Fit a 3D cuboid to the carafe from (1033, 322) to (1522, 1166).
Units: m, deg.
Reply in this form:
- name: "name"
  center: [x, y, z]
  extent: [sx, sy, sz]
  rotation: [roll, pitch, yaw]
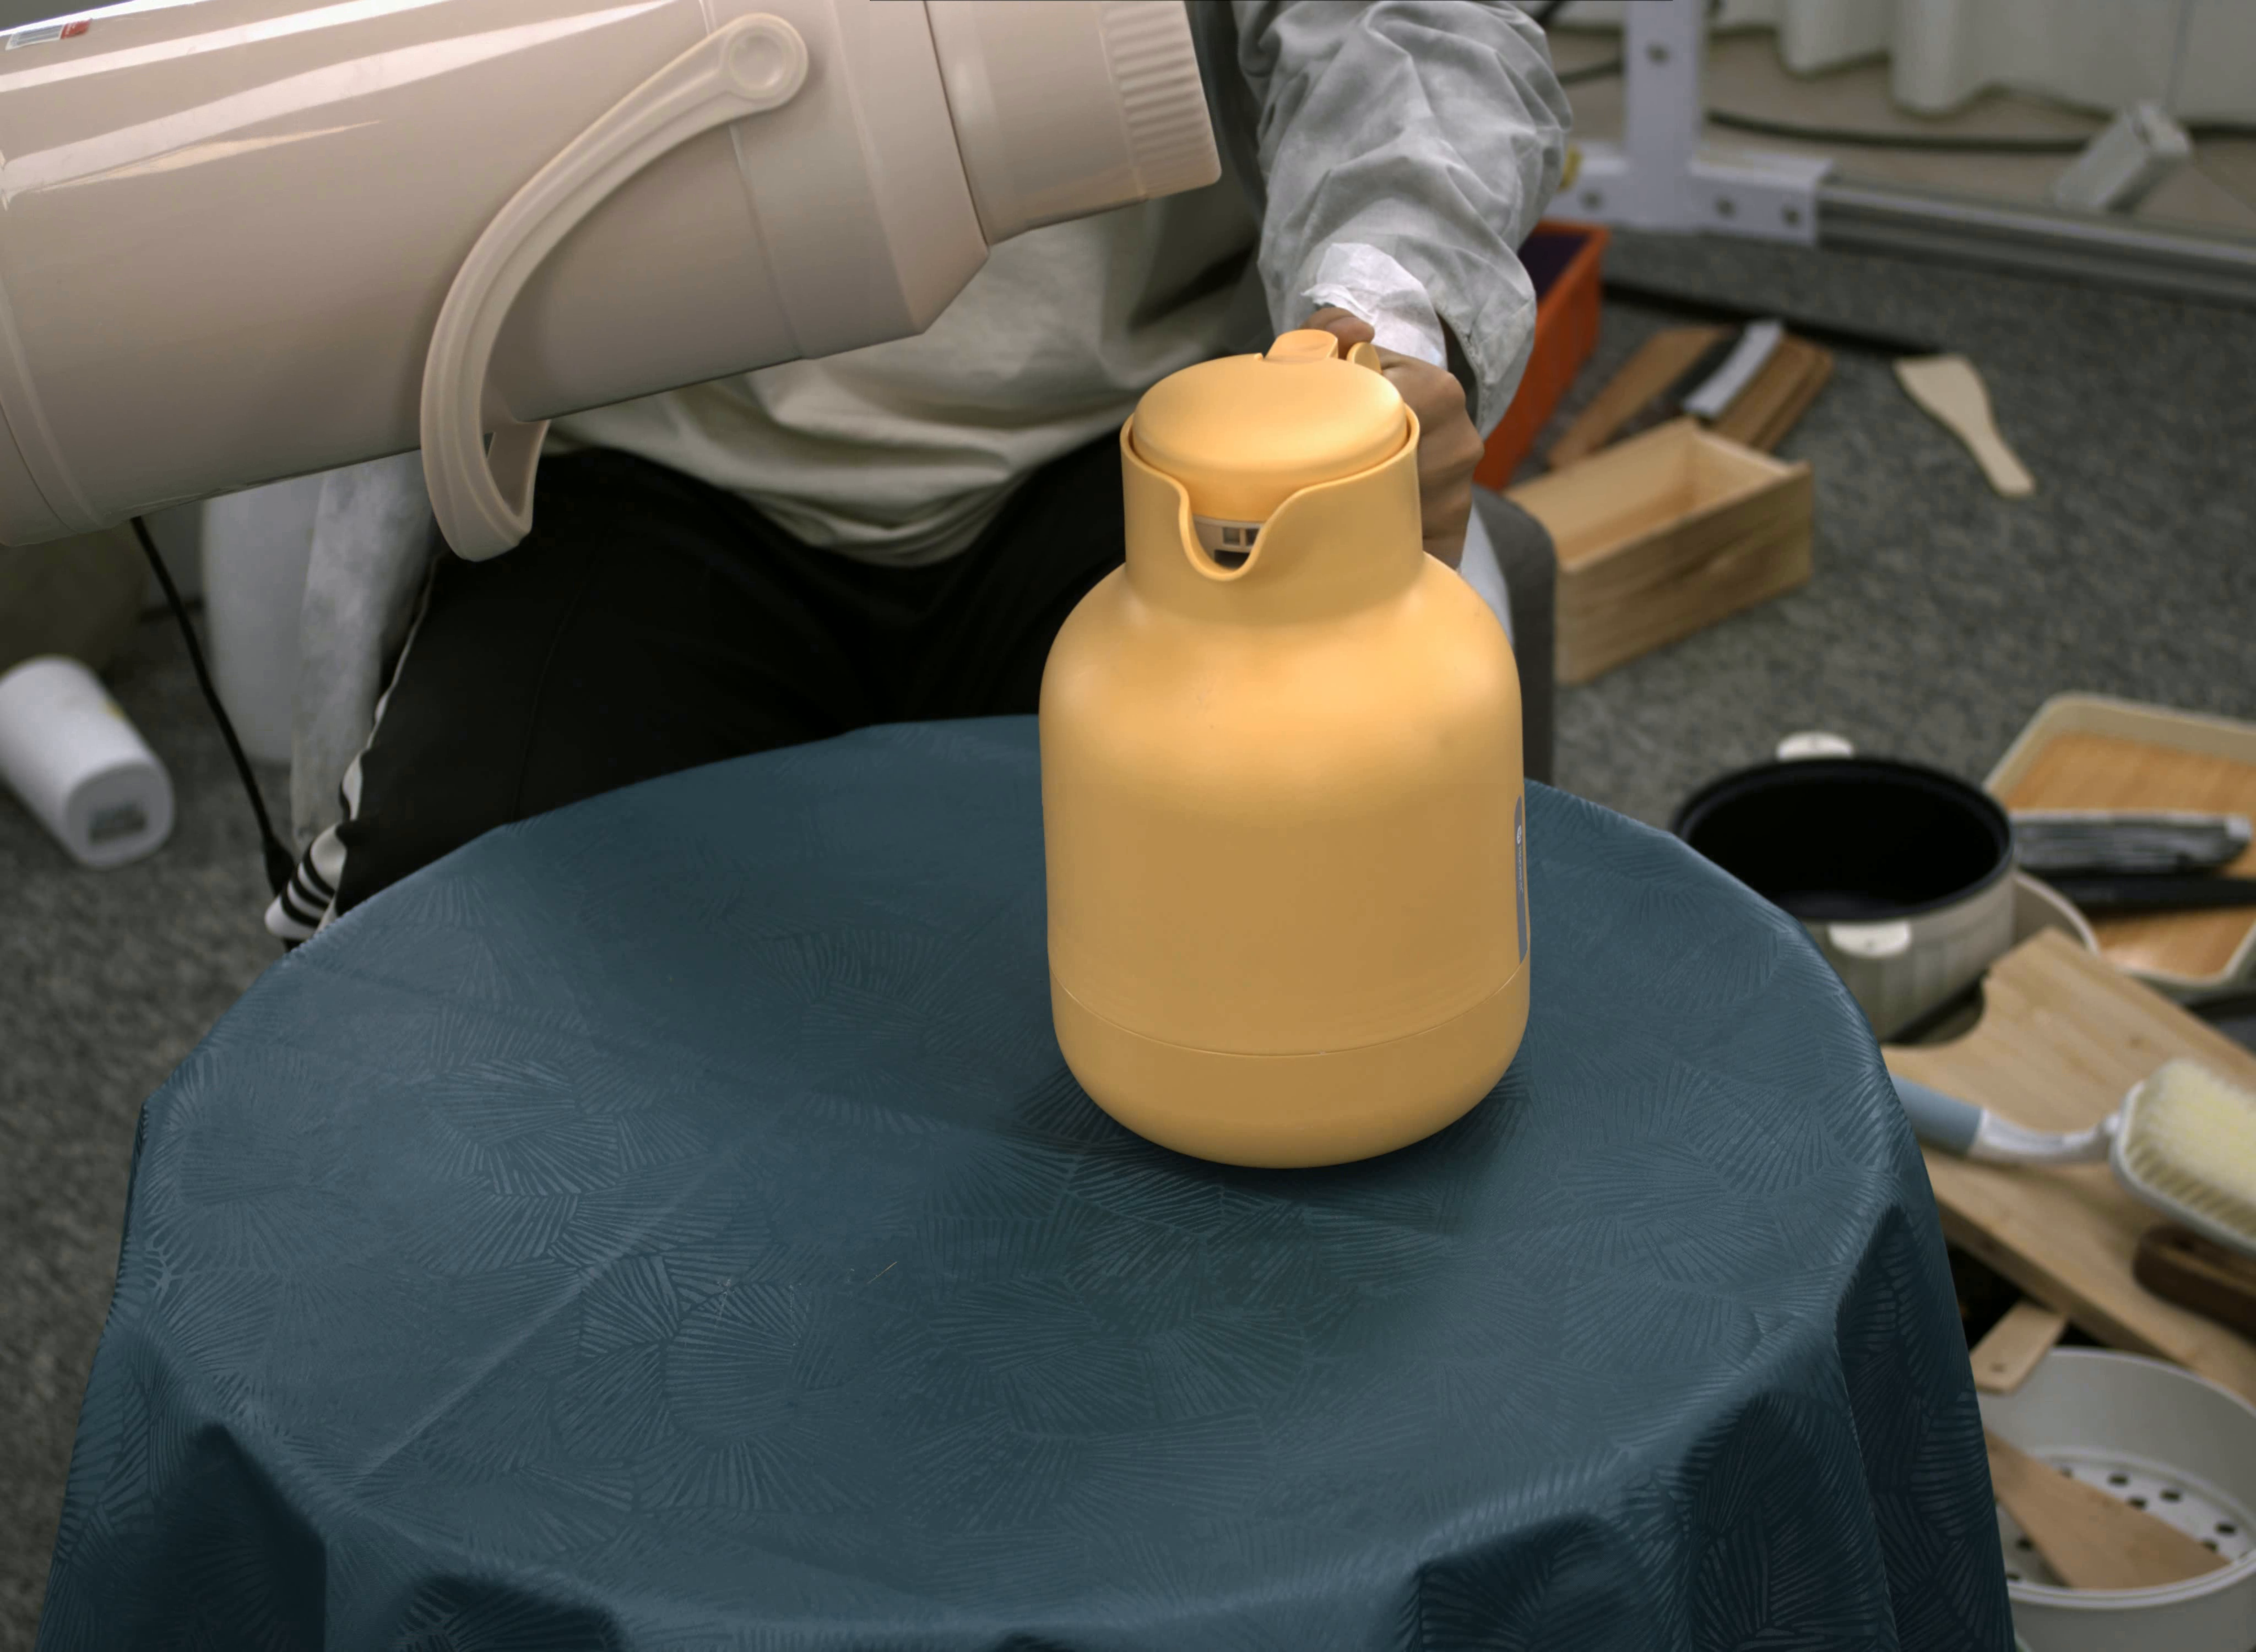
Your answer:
- name: "carafe"
  center: [0.055, -0.036, 1.880]
  extent: [0.162, 0.257, 0.206]
  rotation: [7, 29, 14]

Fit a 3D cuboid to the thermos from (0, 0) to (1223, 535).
- name: "thermos"
  center: [-0.180, -0.225, 1.774]
  extent: [0.404, 0.208, 0.175]
  rotation: [-13, -4, 3]
